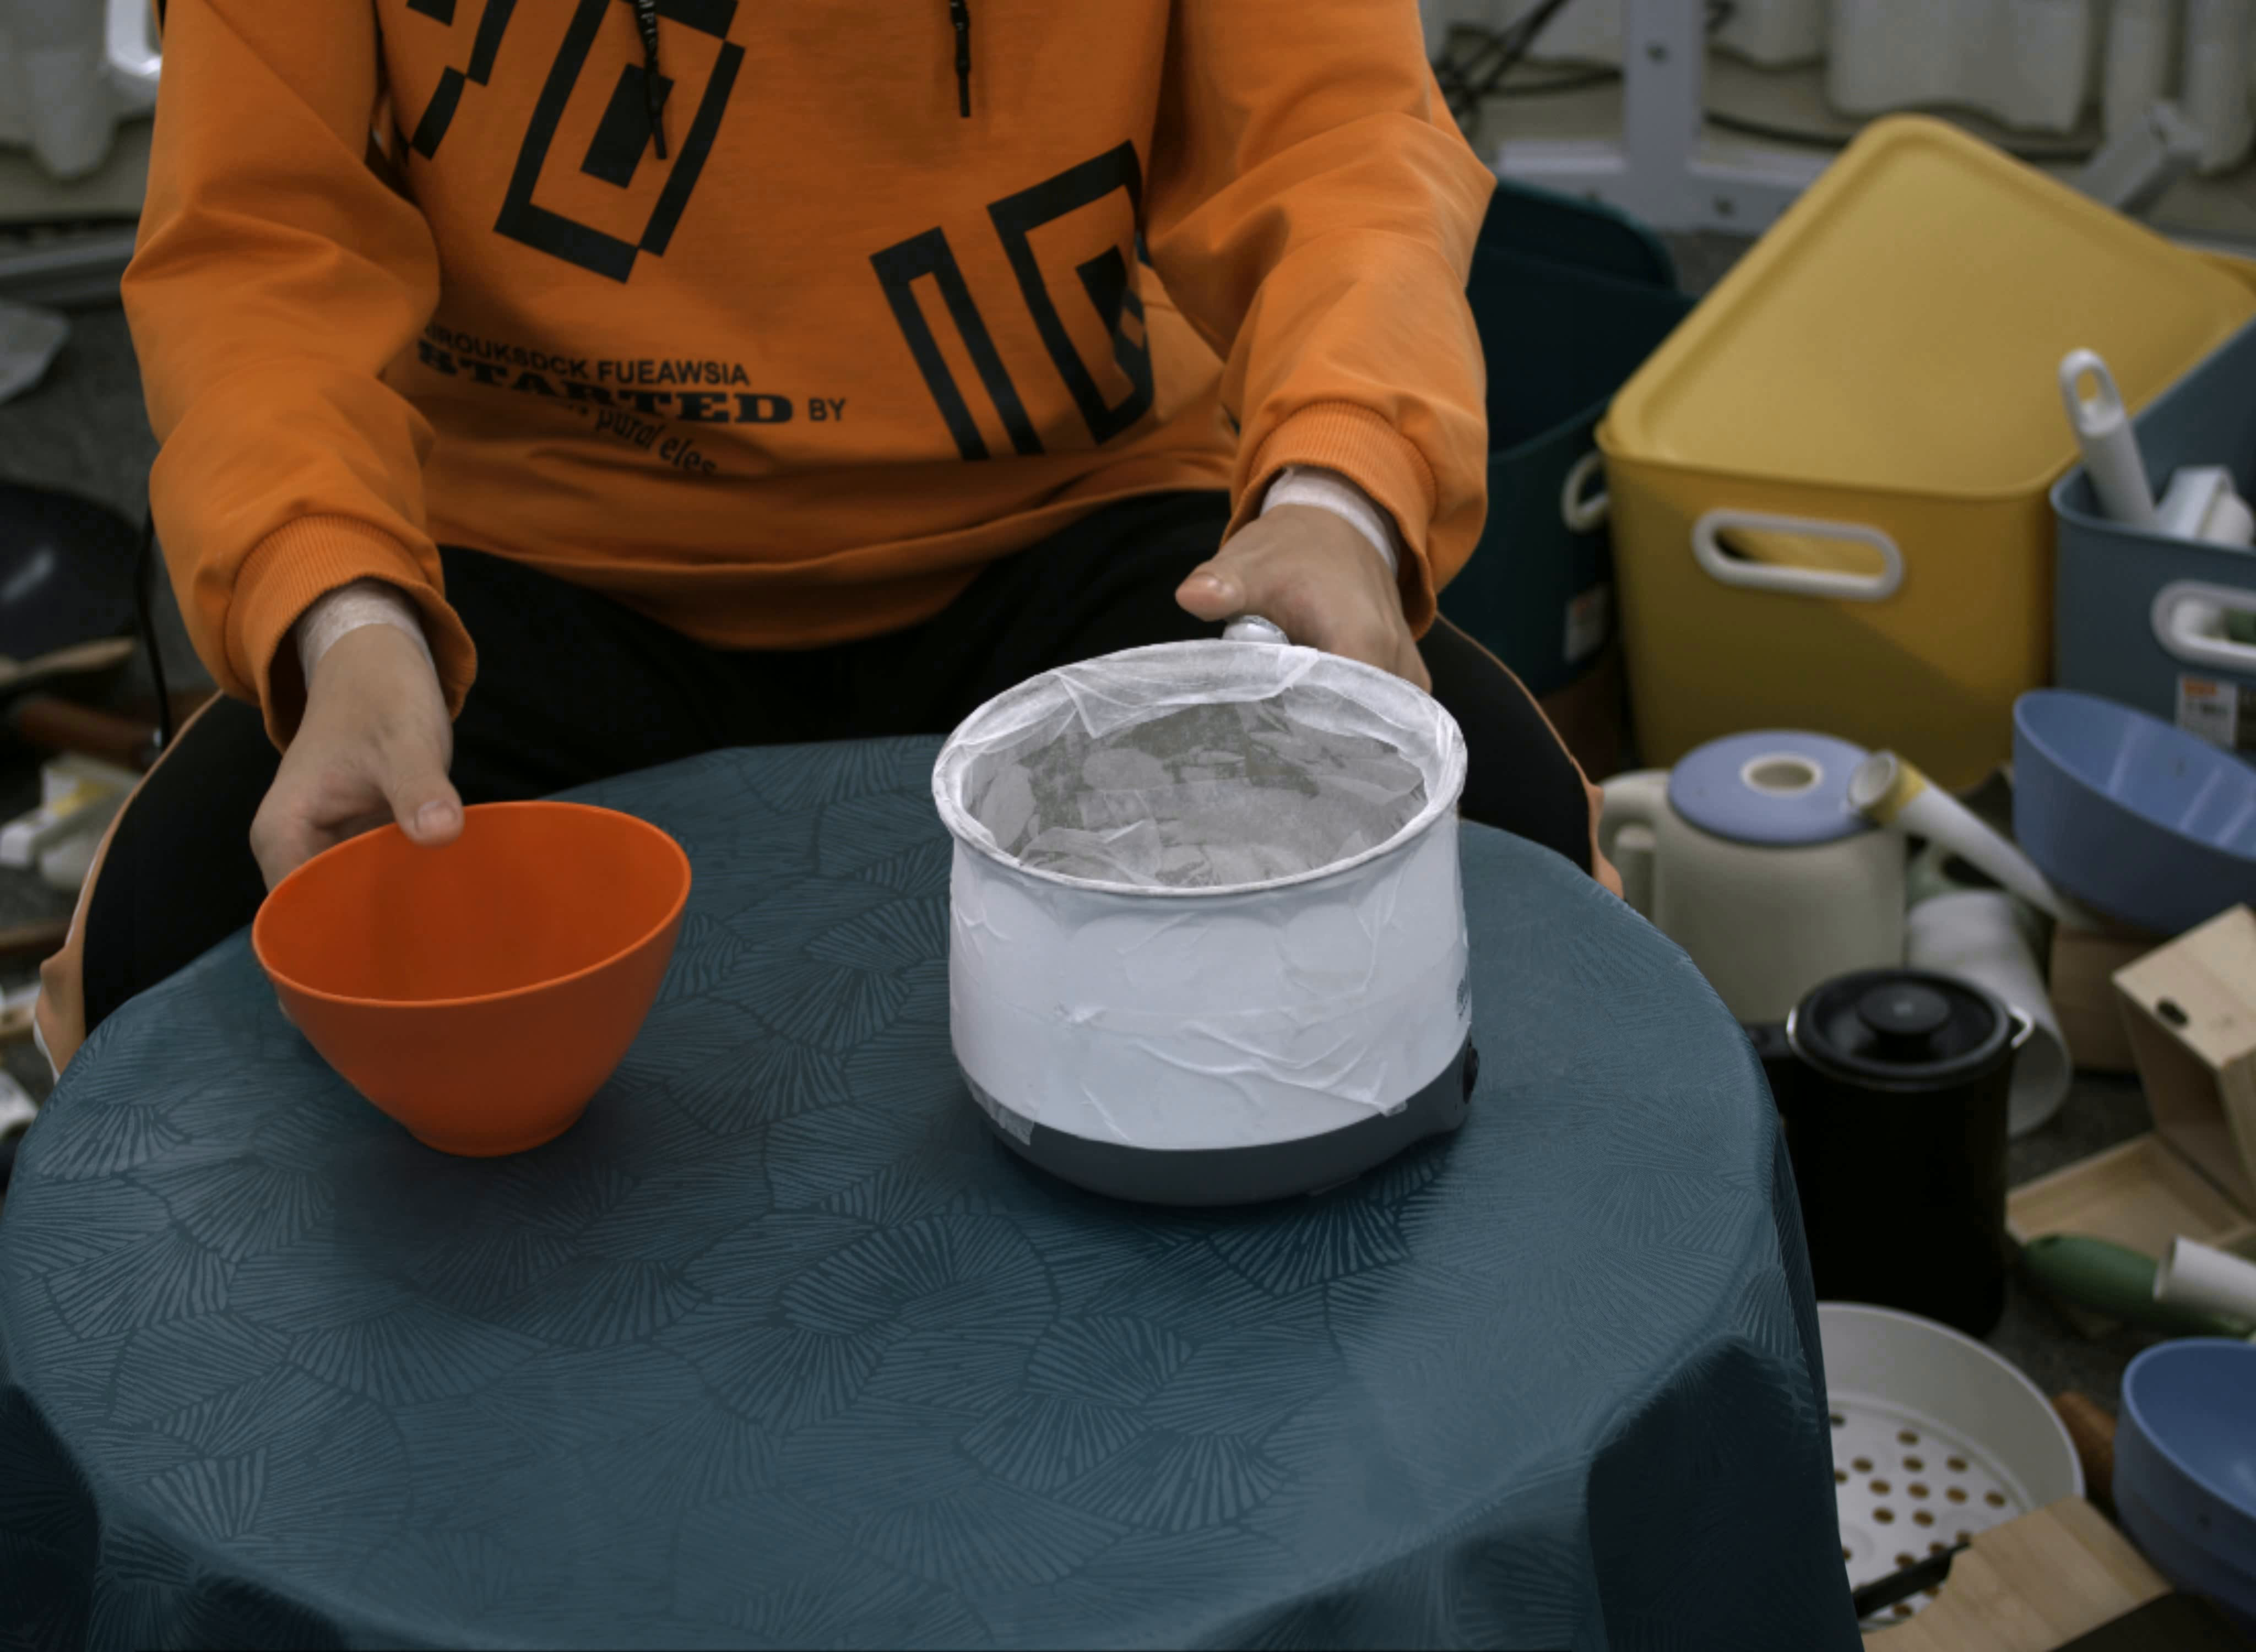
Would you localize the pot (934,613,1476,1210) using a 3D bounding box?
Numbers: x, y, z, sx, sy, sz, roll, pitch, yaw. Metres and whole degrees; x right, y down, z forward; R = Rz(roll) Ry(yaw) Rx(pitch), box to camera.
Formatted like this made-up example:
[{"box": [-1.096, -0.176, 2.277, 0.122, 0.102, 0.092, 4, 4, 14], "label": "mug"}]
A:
[{"box": [0.031, 0.021, 1.904, 0.177, 0.135, 0.238, 2, 28, 9], "label": "pot"}]

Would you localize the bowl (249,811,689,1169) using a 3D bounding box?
[{"box": [-0.218, 0.062, 1.892, 0.147, 0.103, 0.150, -1, 33, 1], "label": "bowl"}]
